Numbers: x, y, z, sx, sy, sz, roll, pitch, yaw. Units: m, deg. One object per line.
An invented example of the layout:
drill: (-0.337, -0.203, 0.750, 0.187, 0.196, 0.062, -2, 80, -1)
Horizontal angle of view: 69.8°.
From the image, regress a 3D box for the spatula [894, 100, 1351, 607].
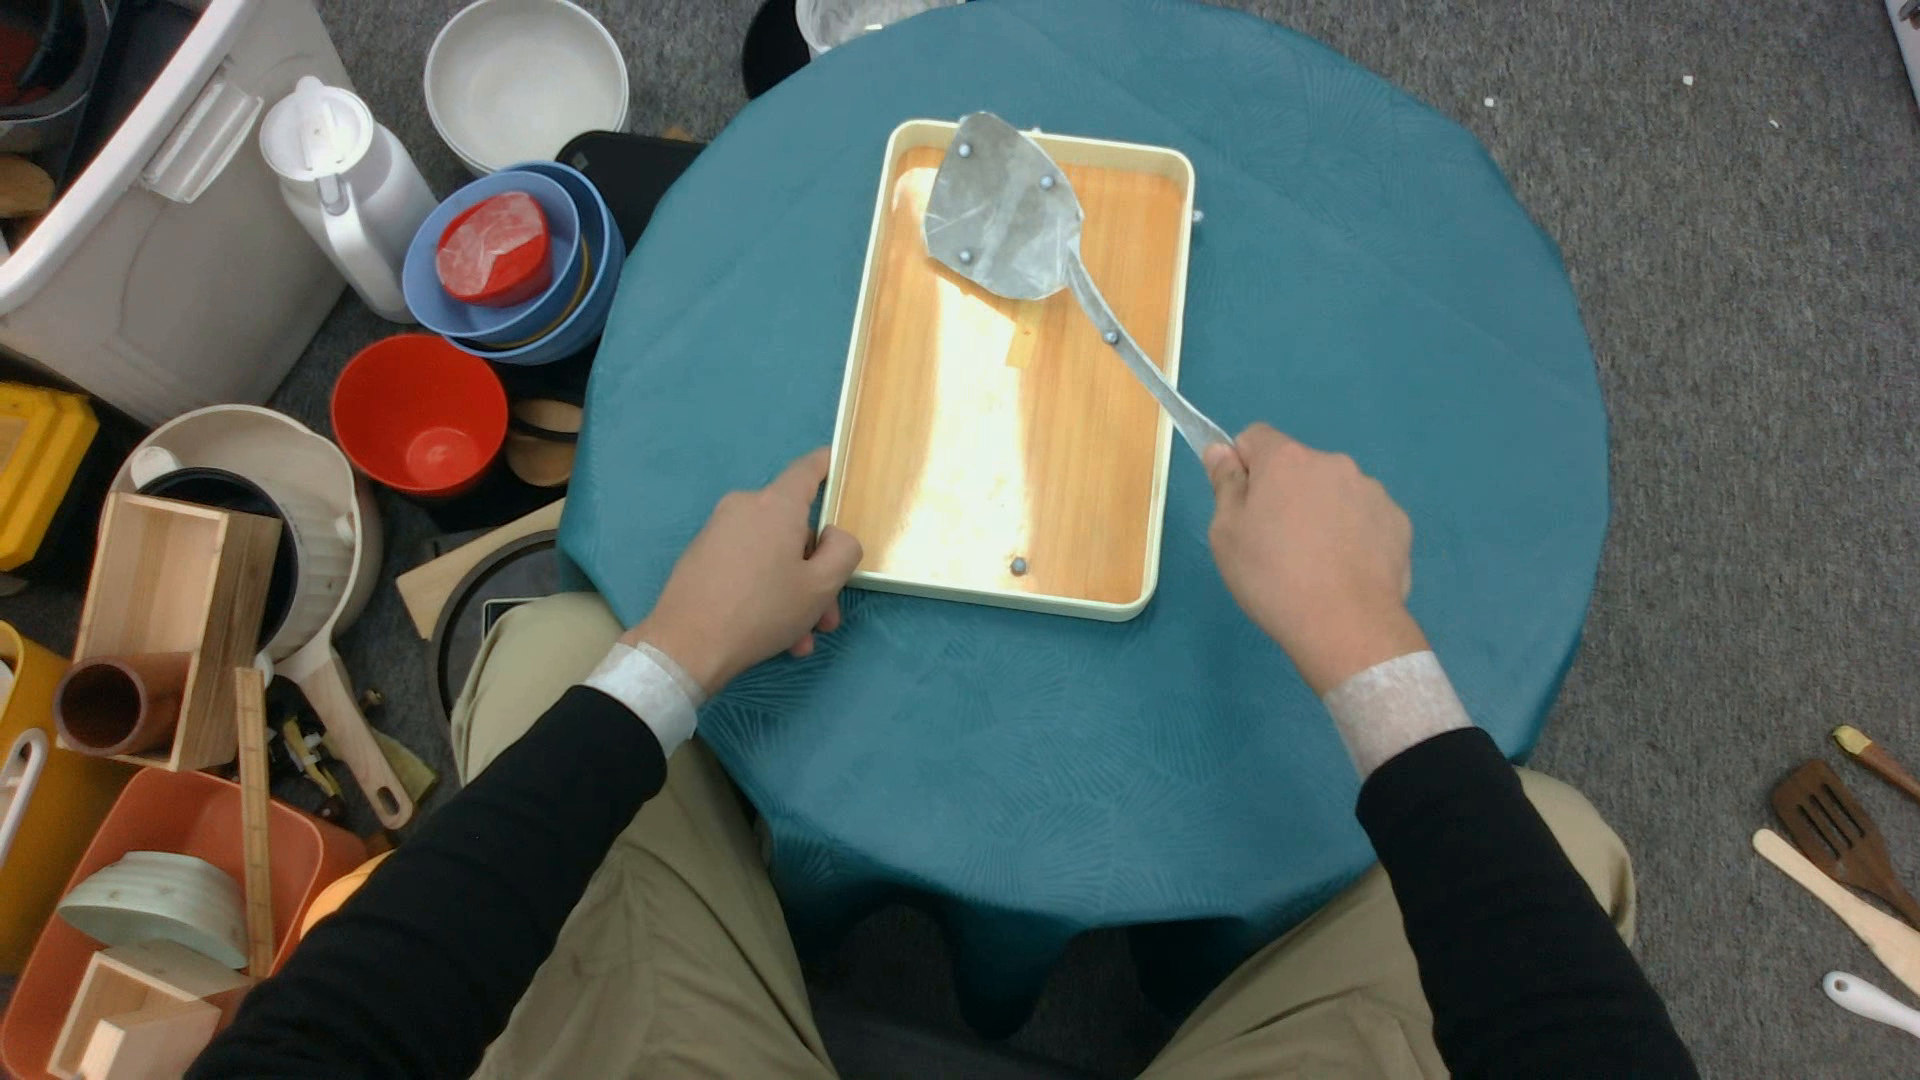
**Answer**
spatula: (0.082, -0.100, 0.737, 0.045, 0.098, 0.365, -12, 54, -38)

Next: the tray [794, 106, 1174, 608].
tray: (0.020, -0.115, 0.809, 0.191, 0.027, 0.301, 8, 70, 2)
